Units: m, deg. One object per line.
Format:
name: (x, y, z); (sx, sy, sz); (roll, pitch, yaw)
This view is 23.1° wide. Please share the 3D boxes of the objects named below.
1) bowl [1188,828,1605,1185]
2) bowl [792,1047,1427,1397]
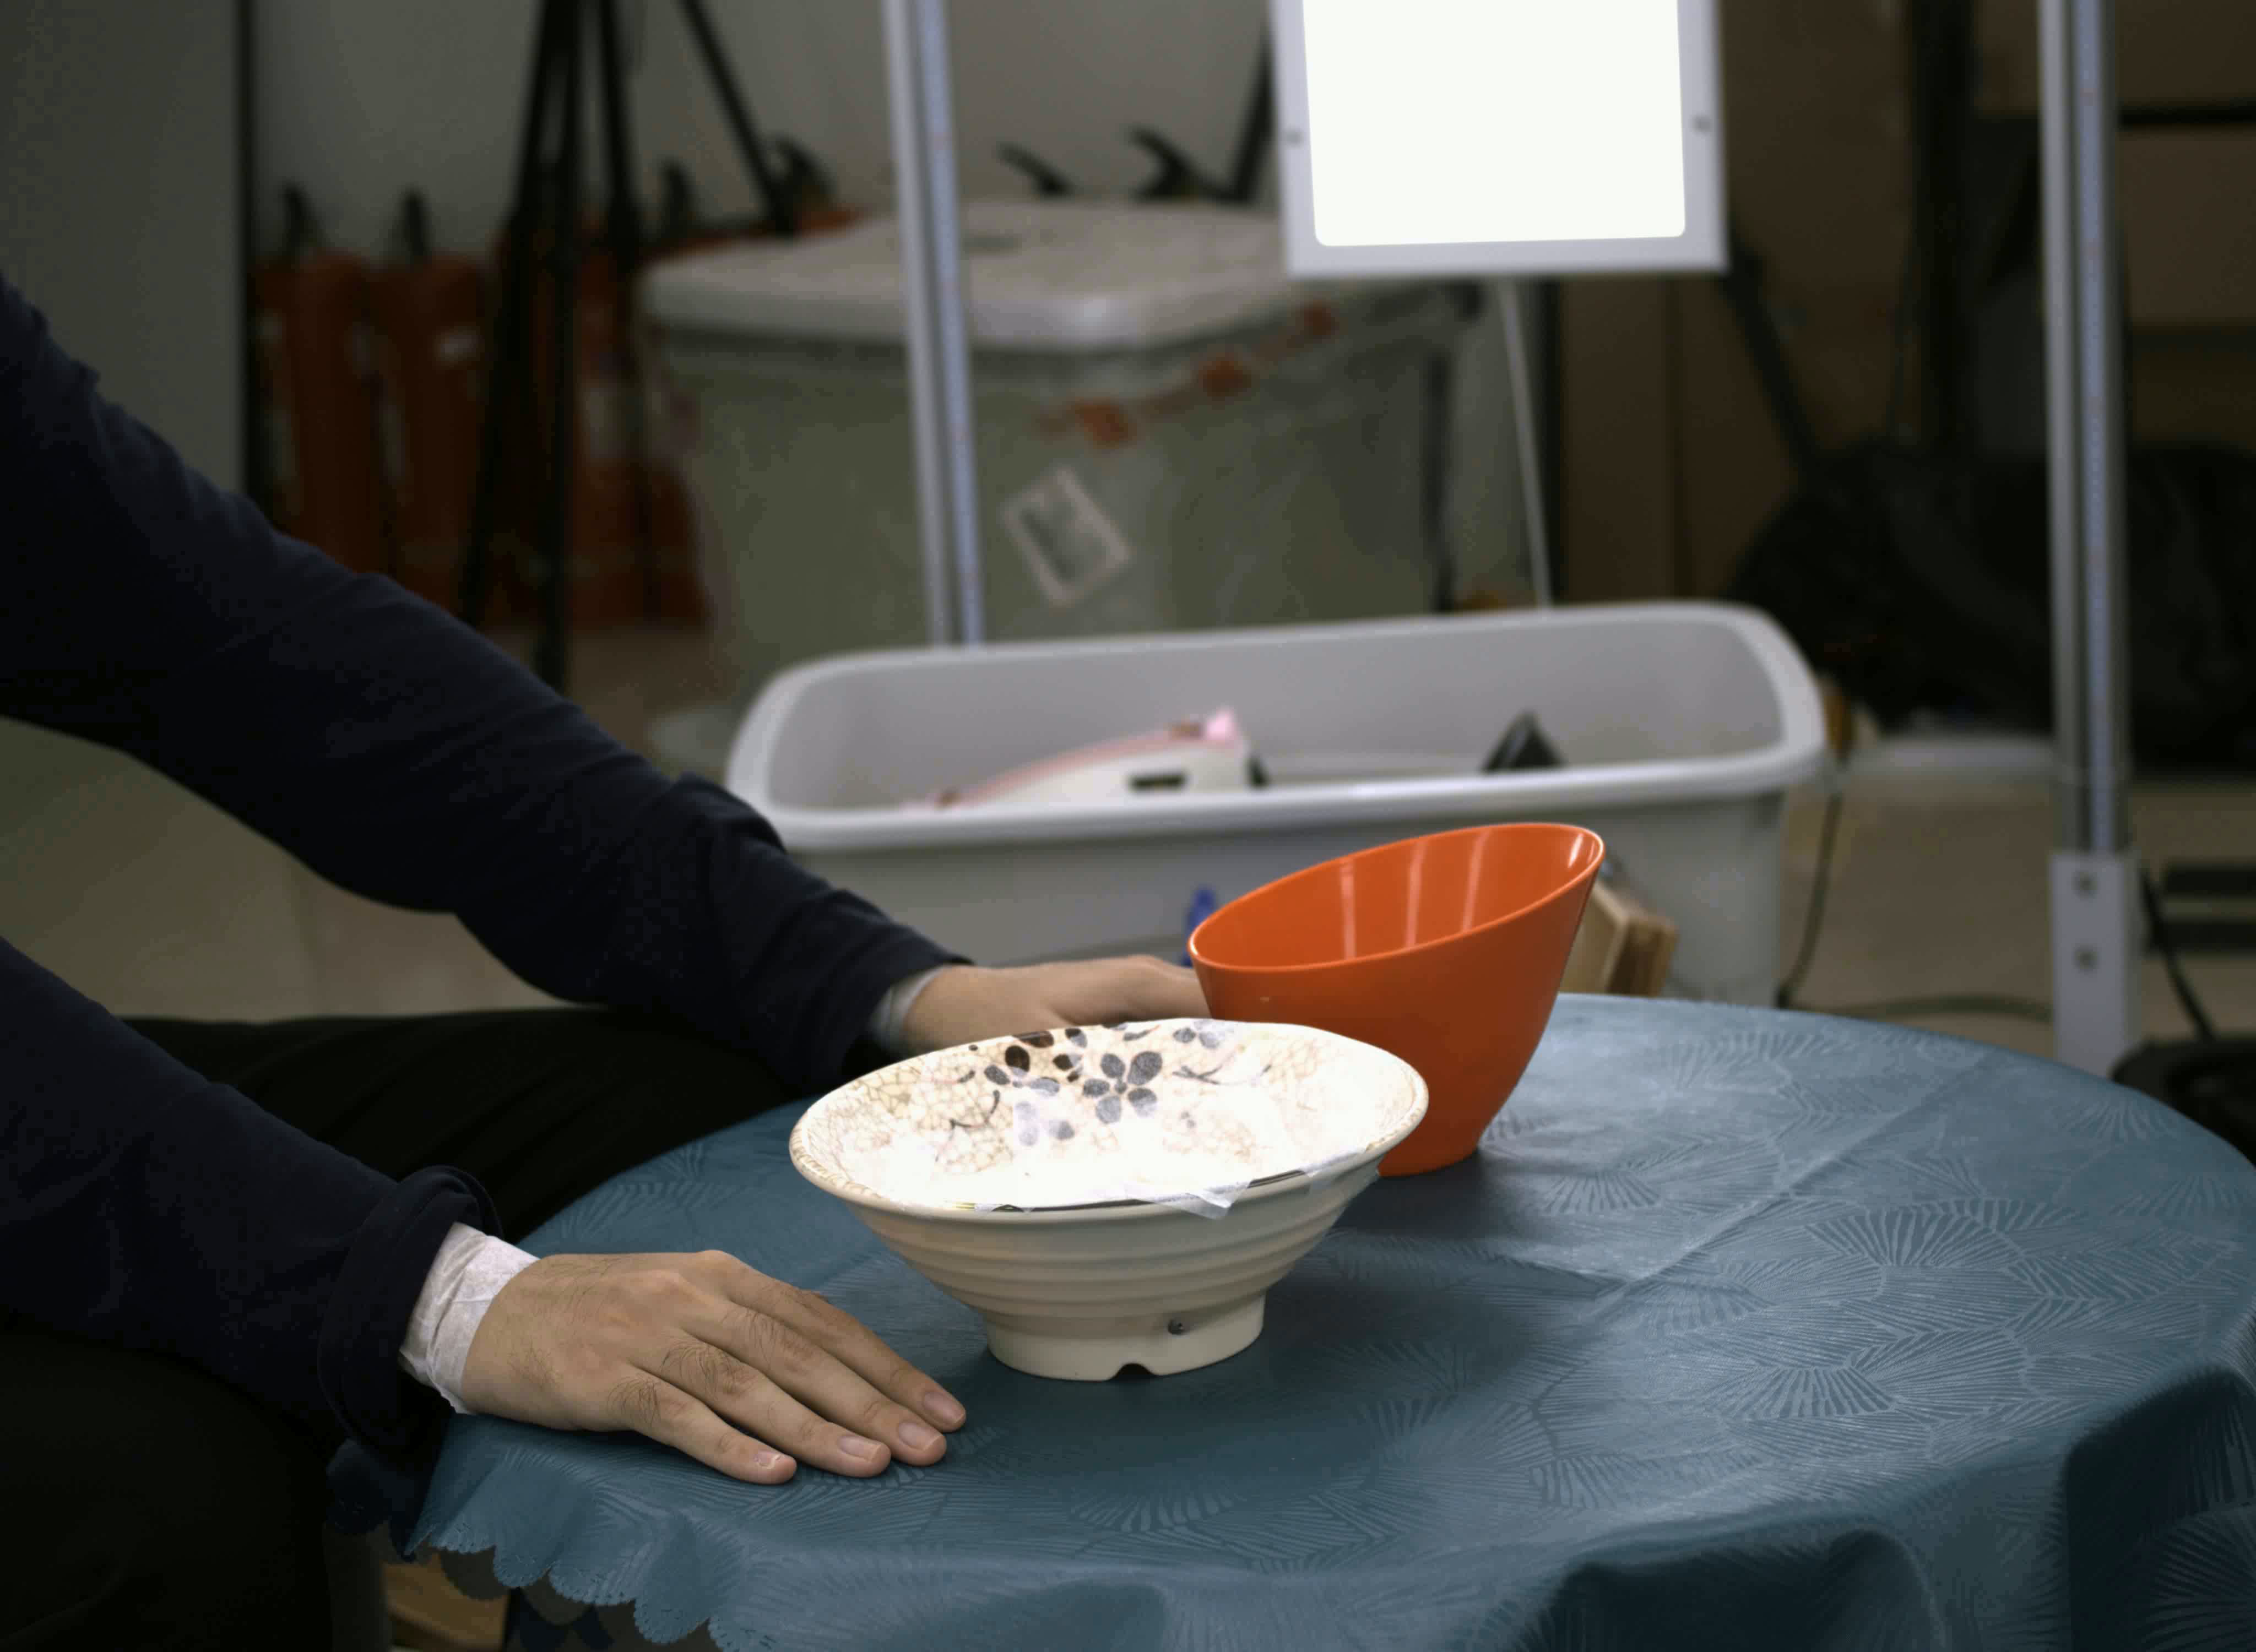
bowl: (0.097, 0.065, 1.910); (0.148, 0.105, 0.148); (-7, 13, 0)
bowl: (0.000, 0.131, 1.744); (0.203, 0.078, 0.204); (-10, 9, 0)
